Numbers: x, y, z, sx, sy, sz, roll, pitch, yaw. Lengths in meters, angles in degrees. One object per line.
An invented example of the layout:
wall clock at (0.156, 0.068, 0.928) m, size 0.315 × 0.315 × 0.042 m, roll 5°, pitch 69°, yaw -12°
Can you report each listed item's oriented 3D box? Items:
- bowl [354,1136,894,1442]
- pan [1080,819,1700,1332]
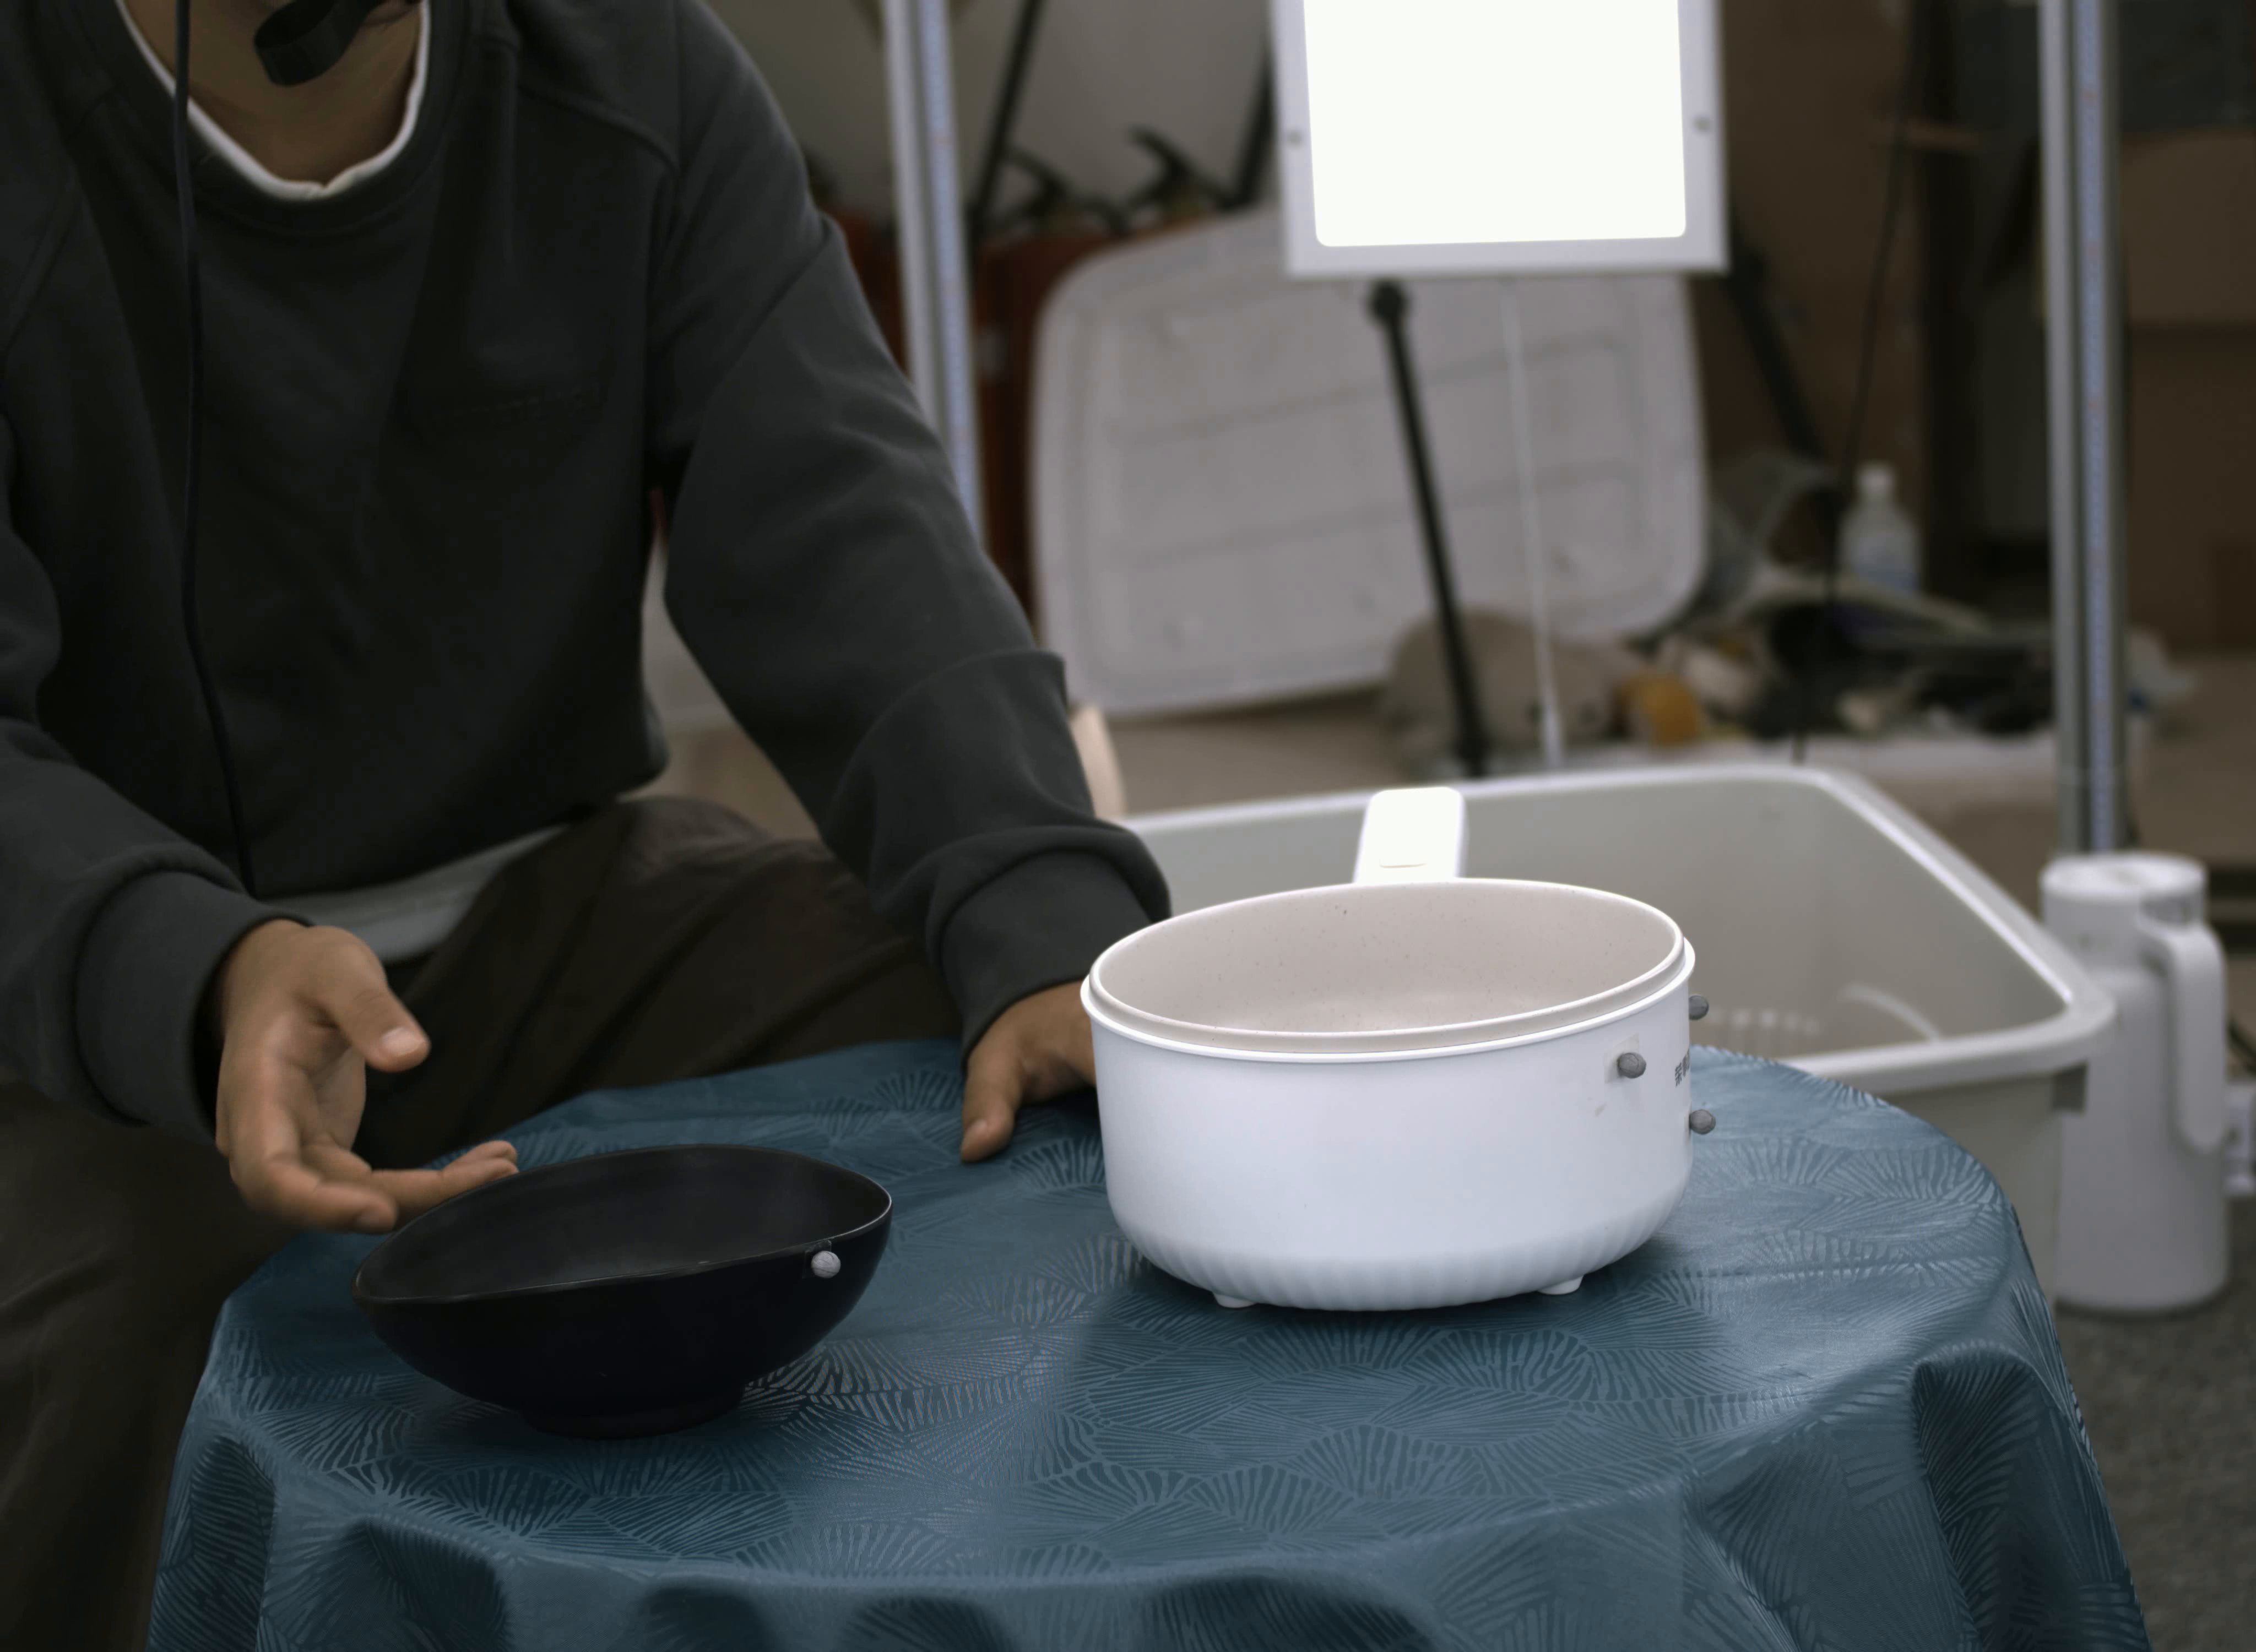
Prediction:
bowl at (-0.154, 0.150, 1.718) m, size 0.169 × 0.067 × 0.138 m, roll -8°, pitch 14°, yaw -7°
pan at (0.096, 0.080, 1.878) m, size 0.202 × 0.102 × 0.352 m, roll -7°, pitch 11°, yaw 7°
